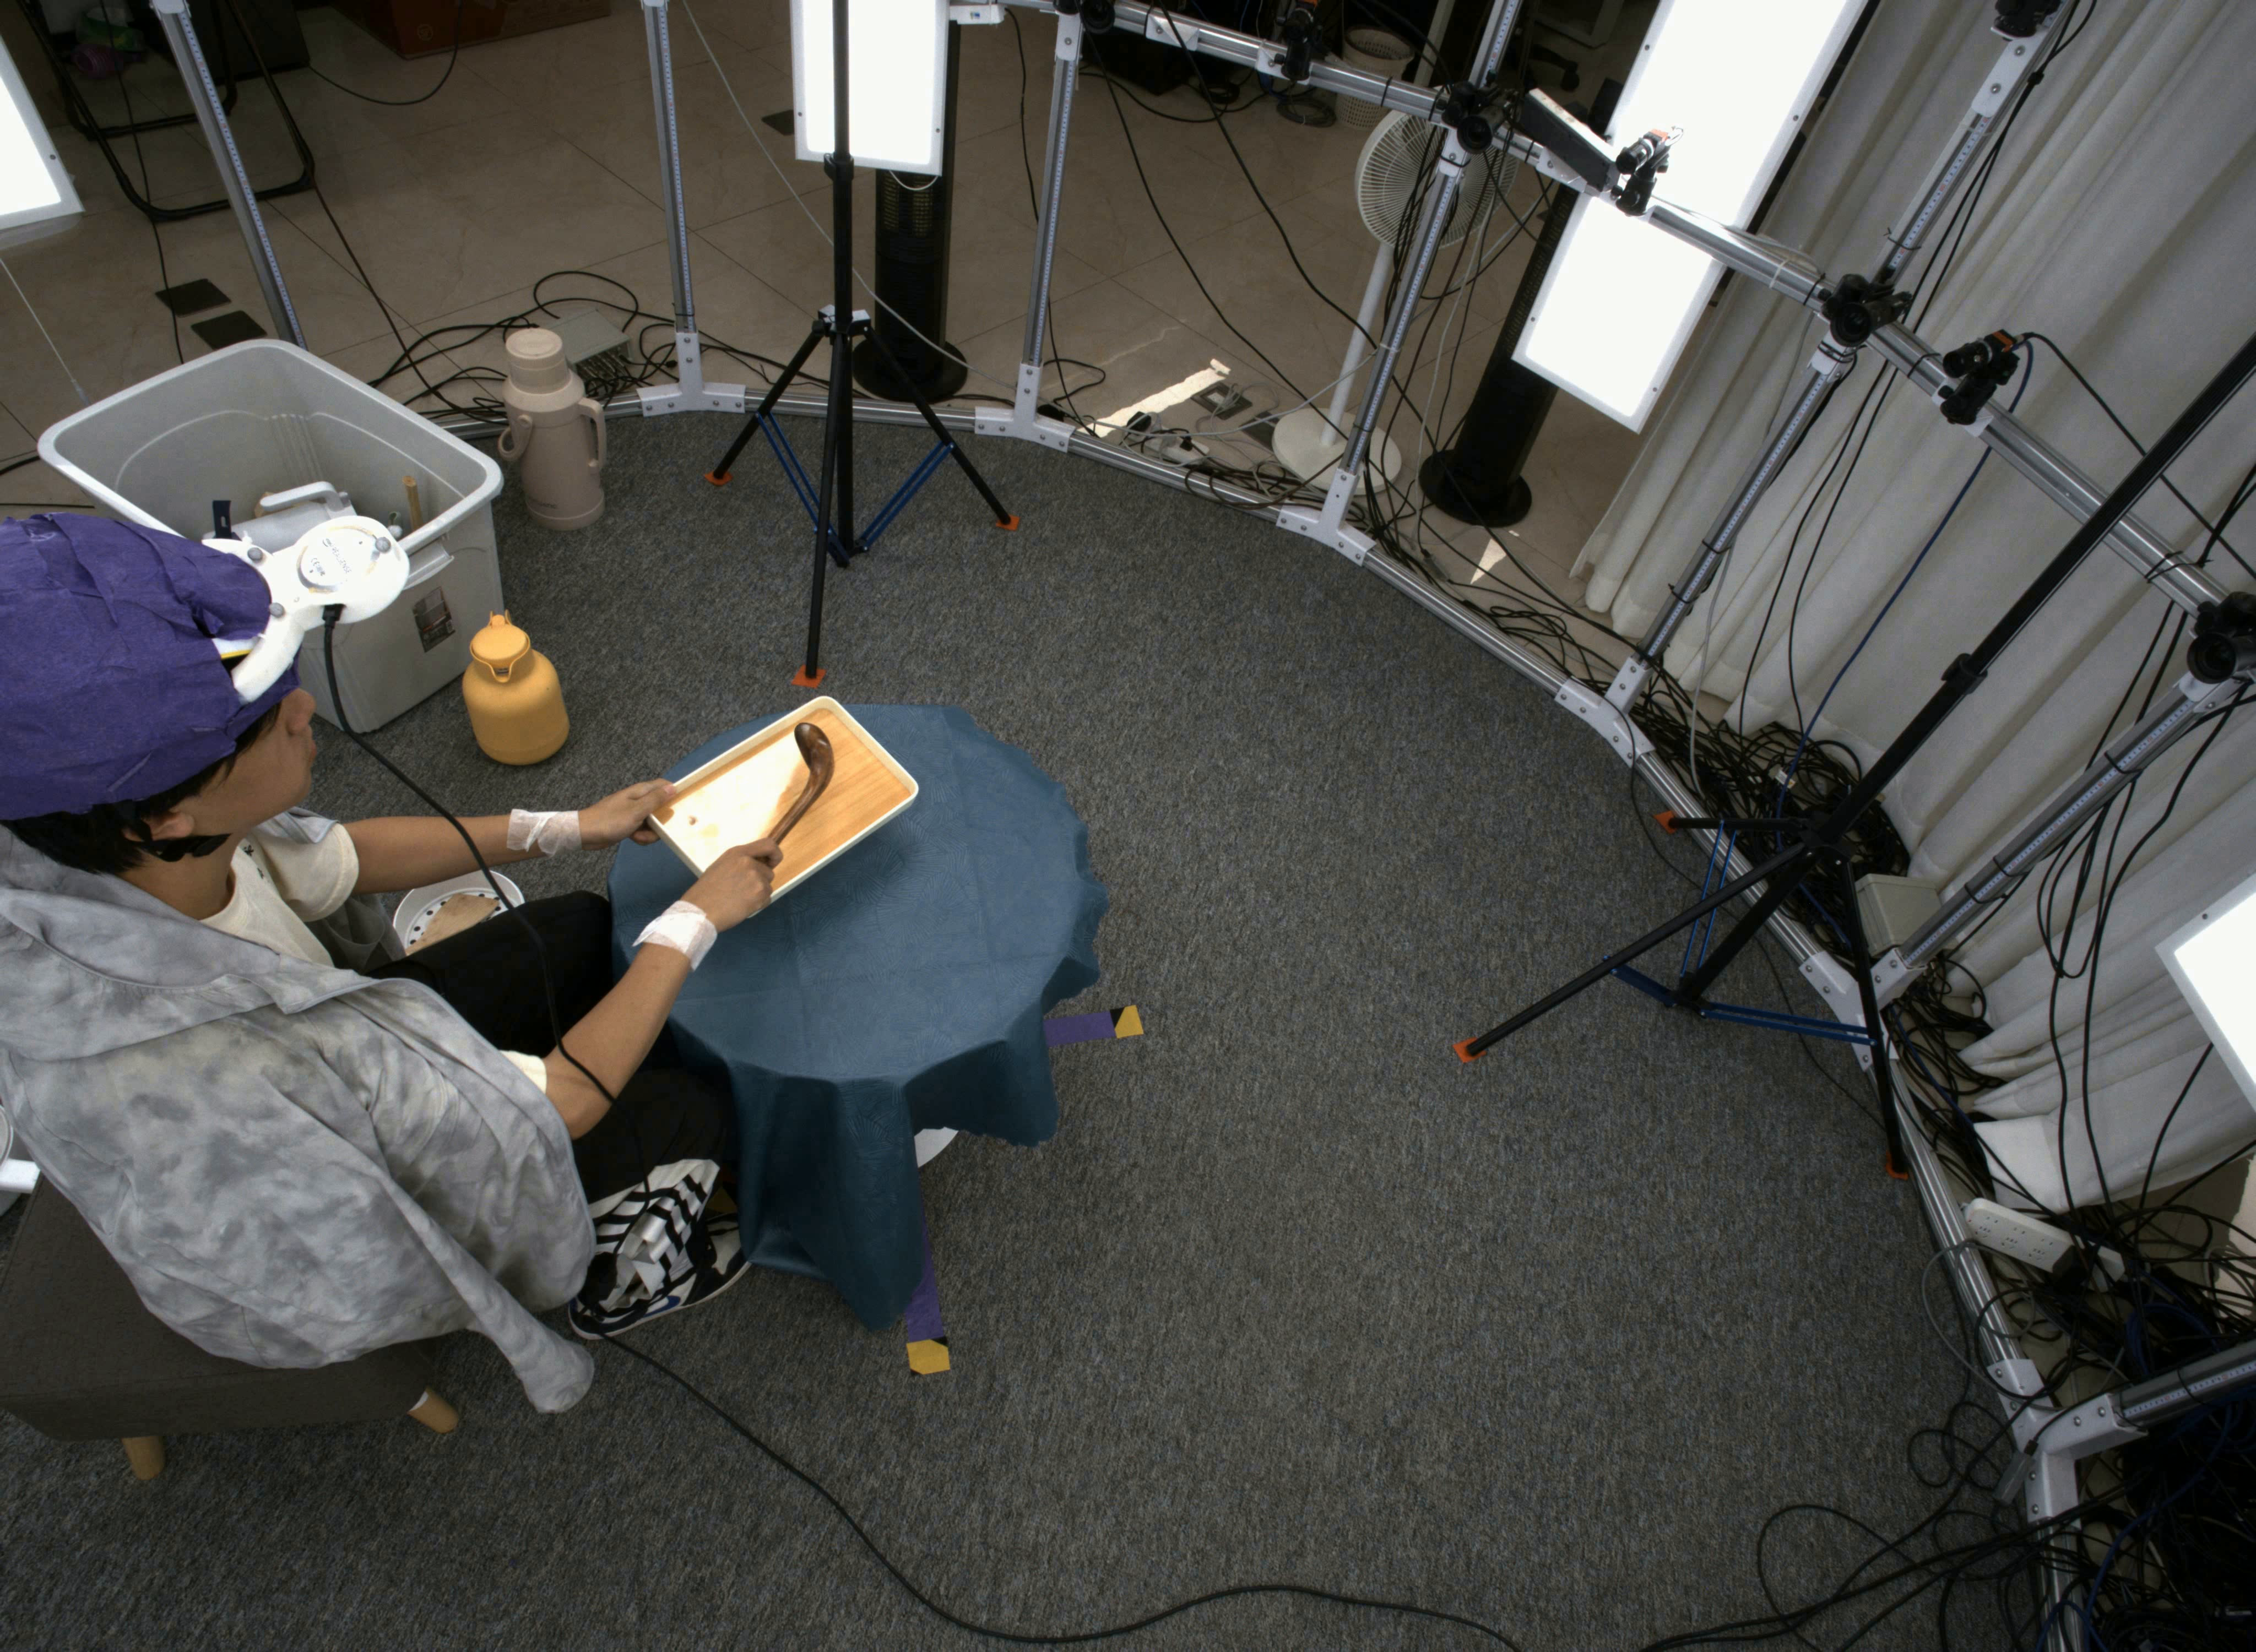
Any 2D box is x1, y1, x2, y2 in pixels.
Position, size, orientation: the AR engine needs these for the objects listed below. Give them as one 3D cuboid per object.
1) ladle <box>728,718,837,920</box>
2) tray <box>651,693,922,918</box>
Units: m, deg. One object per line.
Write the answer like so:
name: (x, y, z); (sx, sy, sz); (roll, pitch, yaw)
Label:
ladle: (-0.421, -0.015, 1.522); (0.075, 0.084, 0.272); (16, 55, 16)
tray: (-0.422, -0.033, 1.618); (0.190, 0.027, 0.300); (46, 53, 6)
